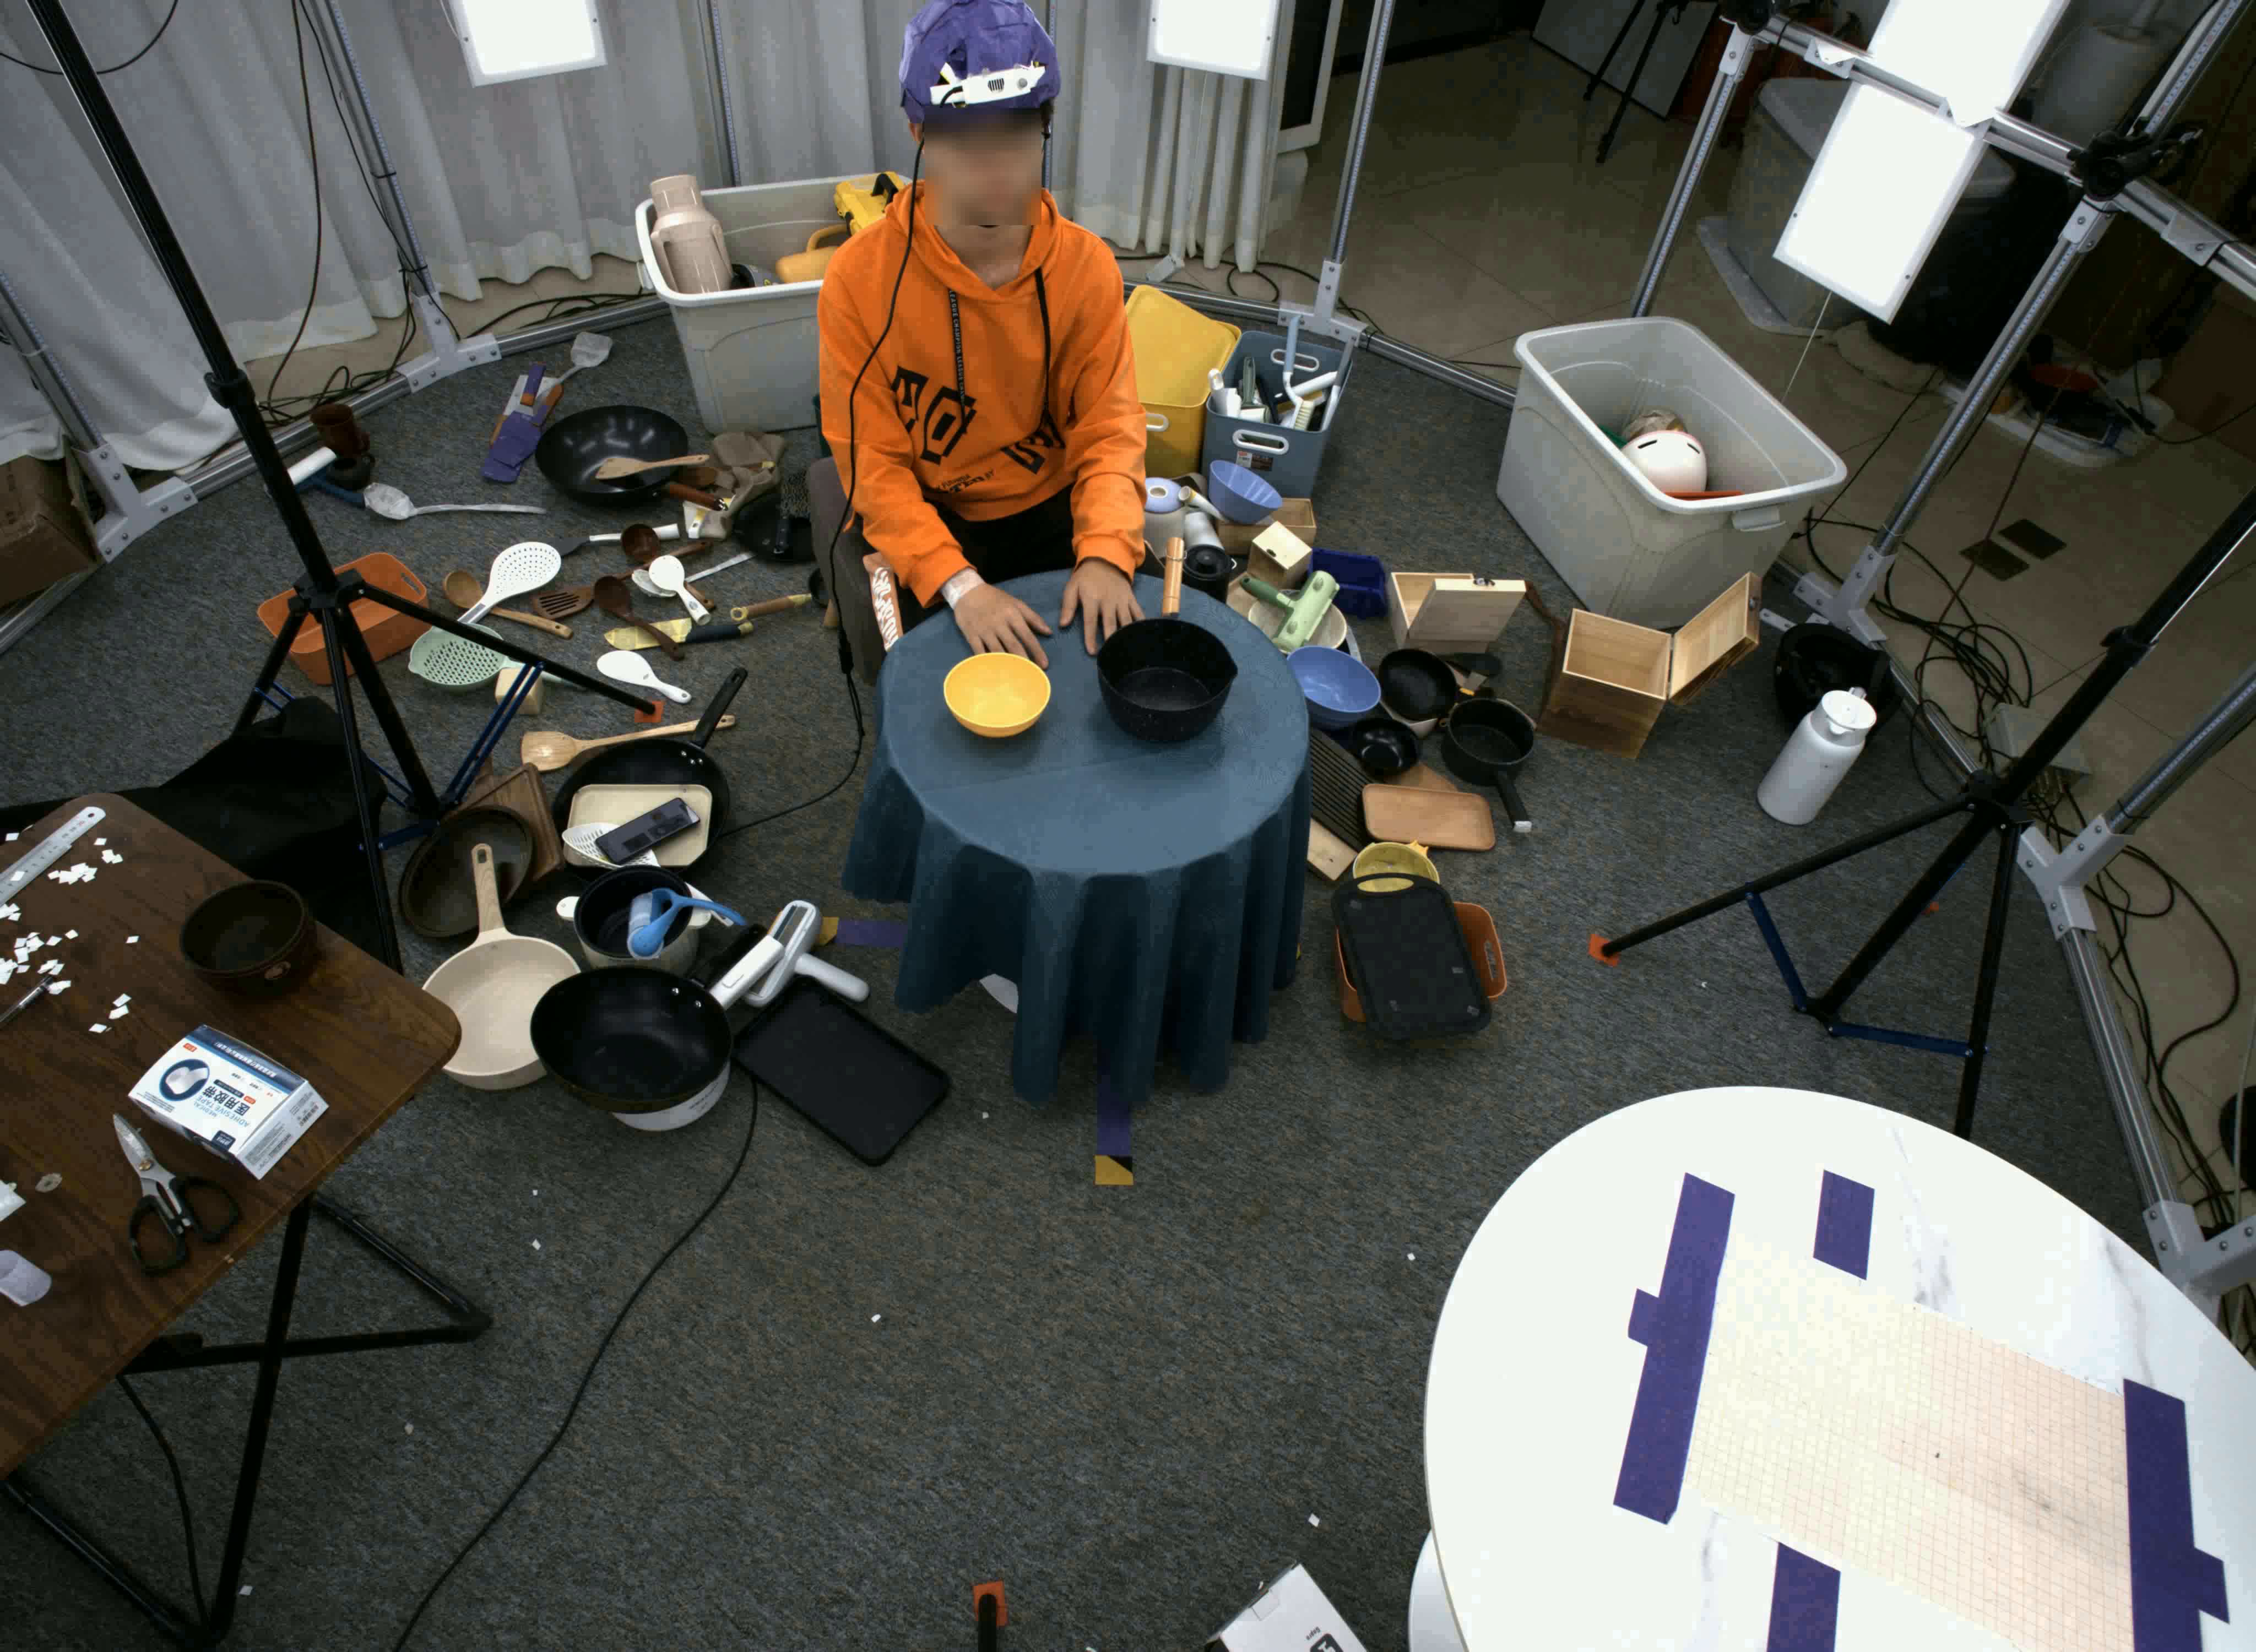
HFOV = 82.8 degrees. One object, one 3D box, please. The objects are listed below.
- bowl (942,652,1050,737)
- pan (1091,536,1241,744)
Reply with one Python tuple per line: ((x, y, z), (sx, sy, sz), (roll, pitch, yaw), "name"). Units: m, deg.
((-0.181, -0.169, 1.765), (0.145, 0.058, 0.149), (3, 48, -3), "bowl")
((0.055, -0.266, 1.834), (0.207, 0.105, 0.351), (4, 50, 1), "pan")
